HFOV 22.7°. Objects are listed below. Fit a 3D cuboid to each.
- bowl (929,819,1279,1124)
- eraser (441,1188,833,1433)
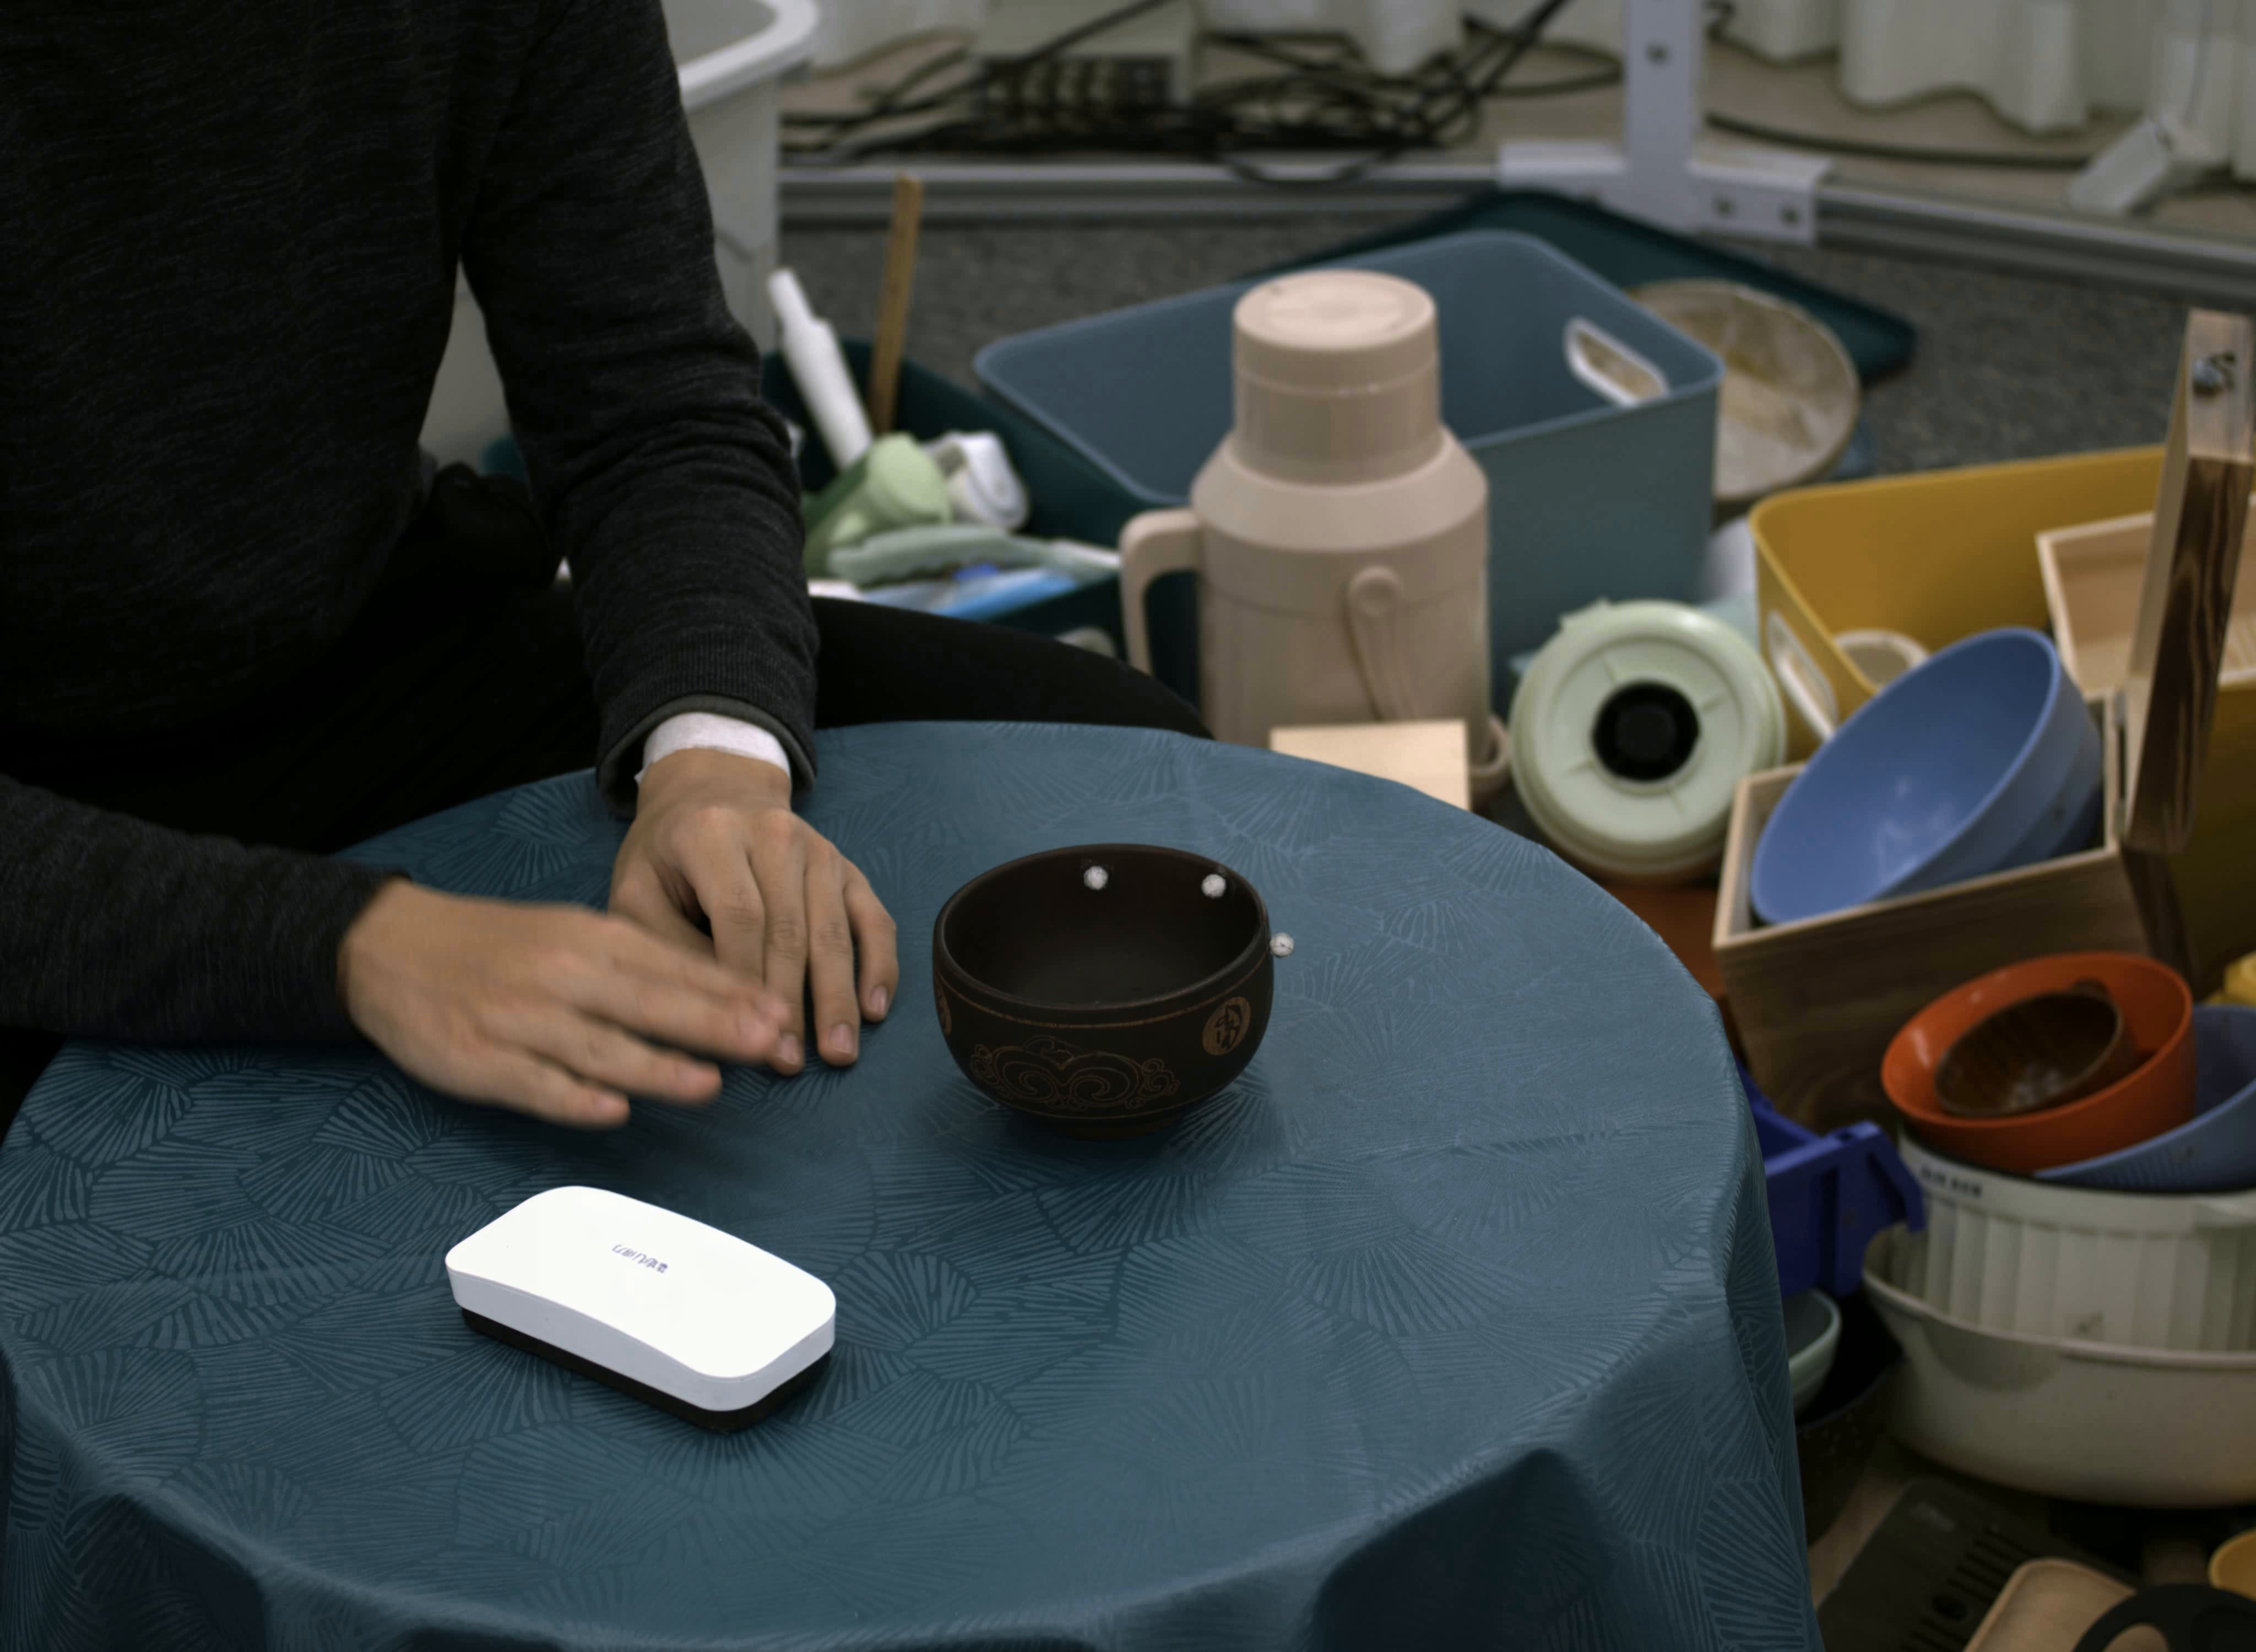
[{"bbox_3d":[-0.005,0.057,1.906,0.117,0.069,0.120,-8,30,5],"label":"bowl"},{"bbox_3d":[-0.156,0.151,1.786,0.131,0.034,0.064,19,33,34],"label":"eraser"}]
